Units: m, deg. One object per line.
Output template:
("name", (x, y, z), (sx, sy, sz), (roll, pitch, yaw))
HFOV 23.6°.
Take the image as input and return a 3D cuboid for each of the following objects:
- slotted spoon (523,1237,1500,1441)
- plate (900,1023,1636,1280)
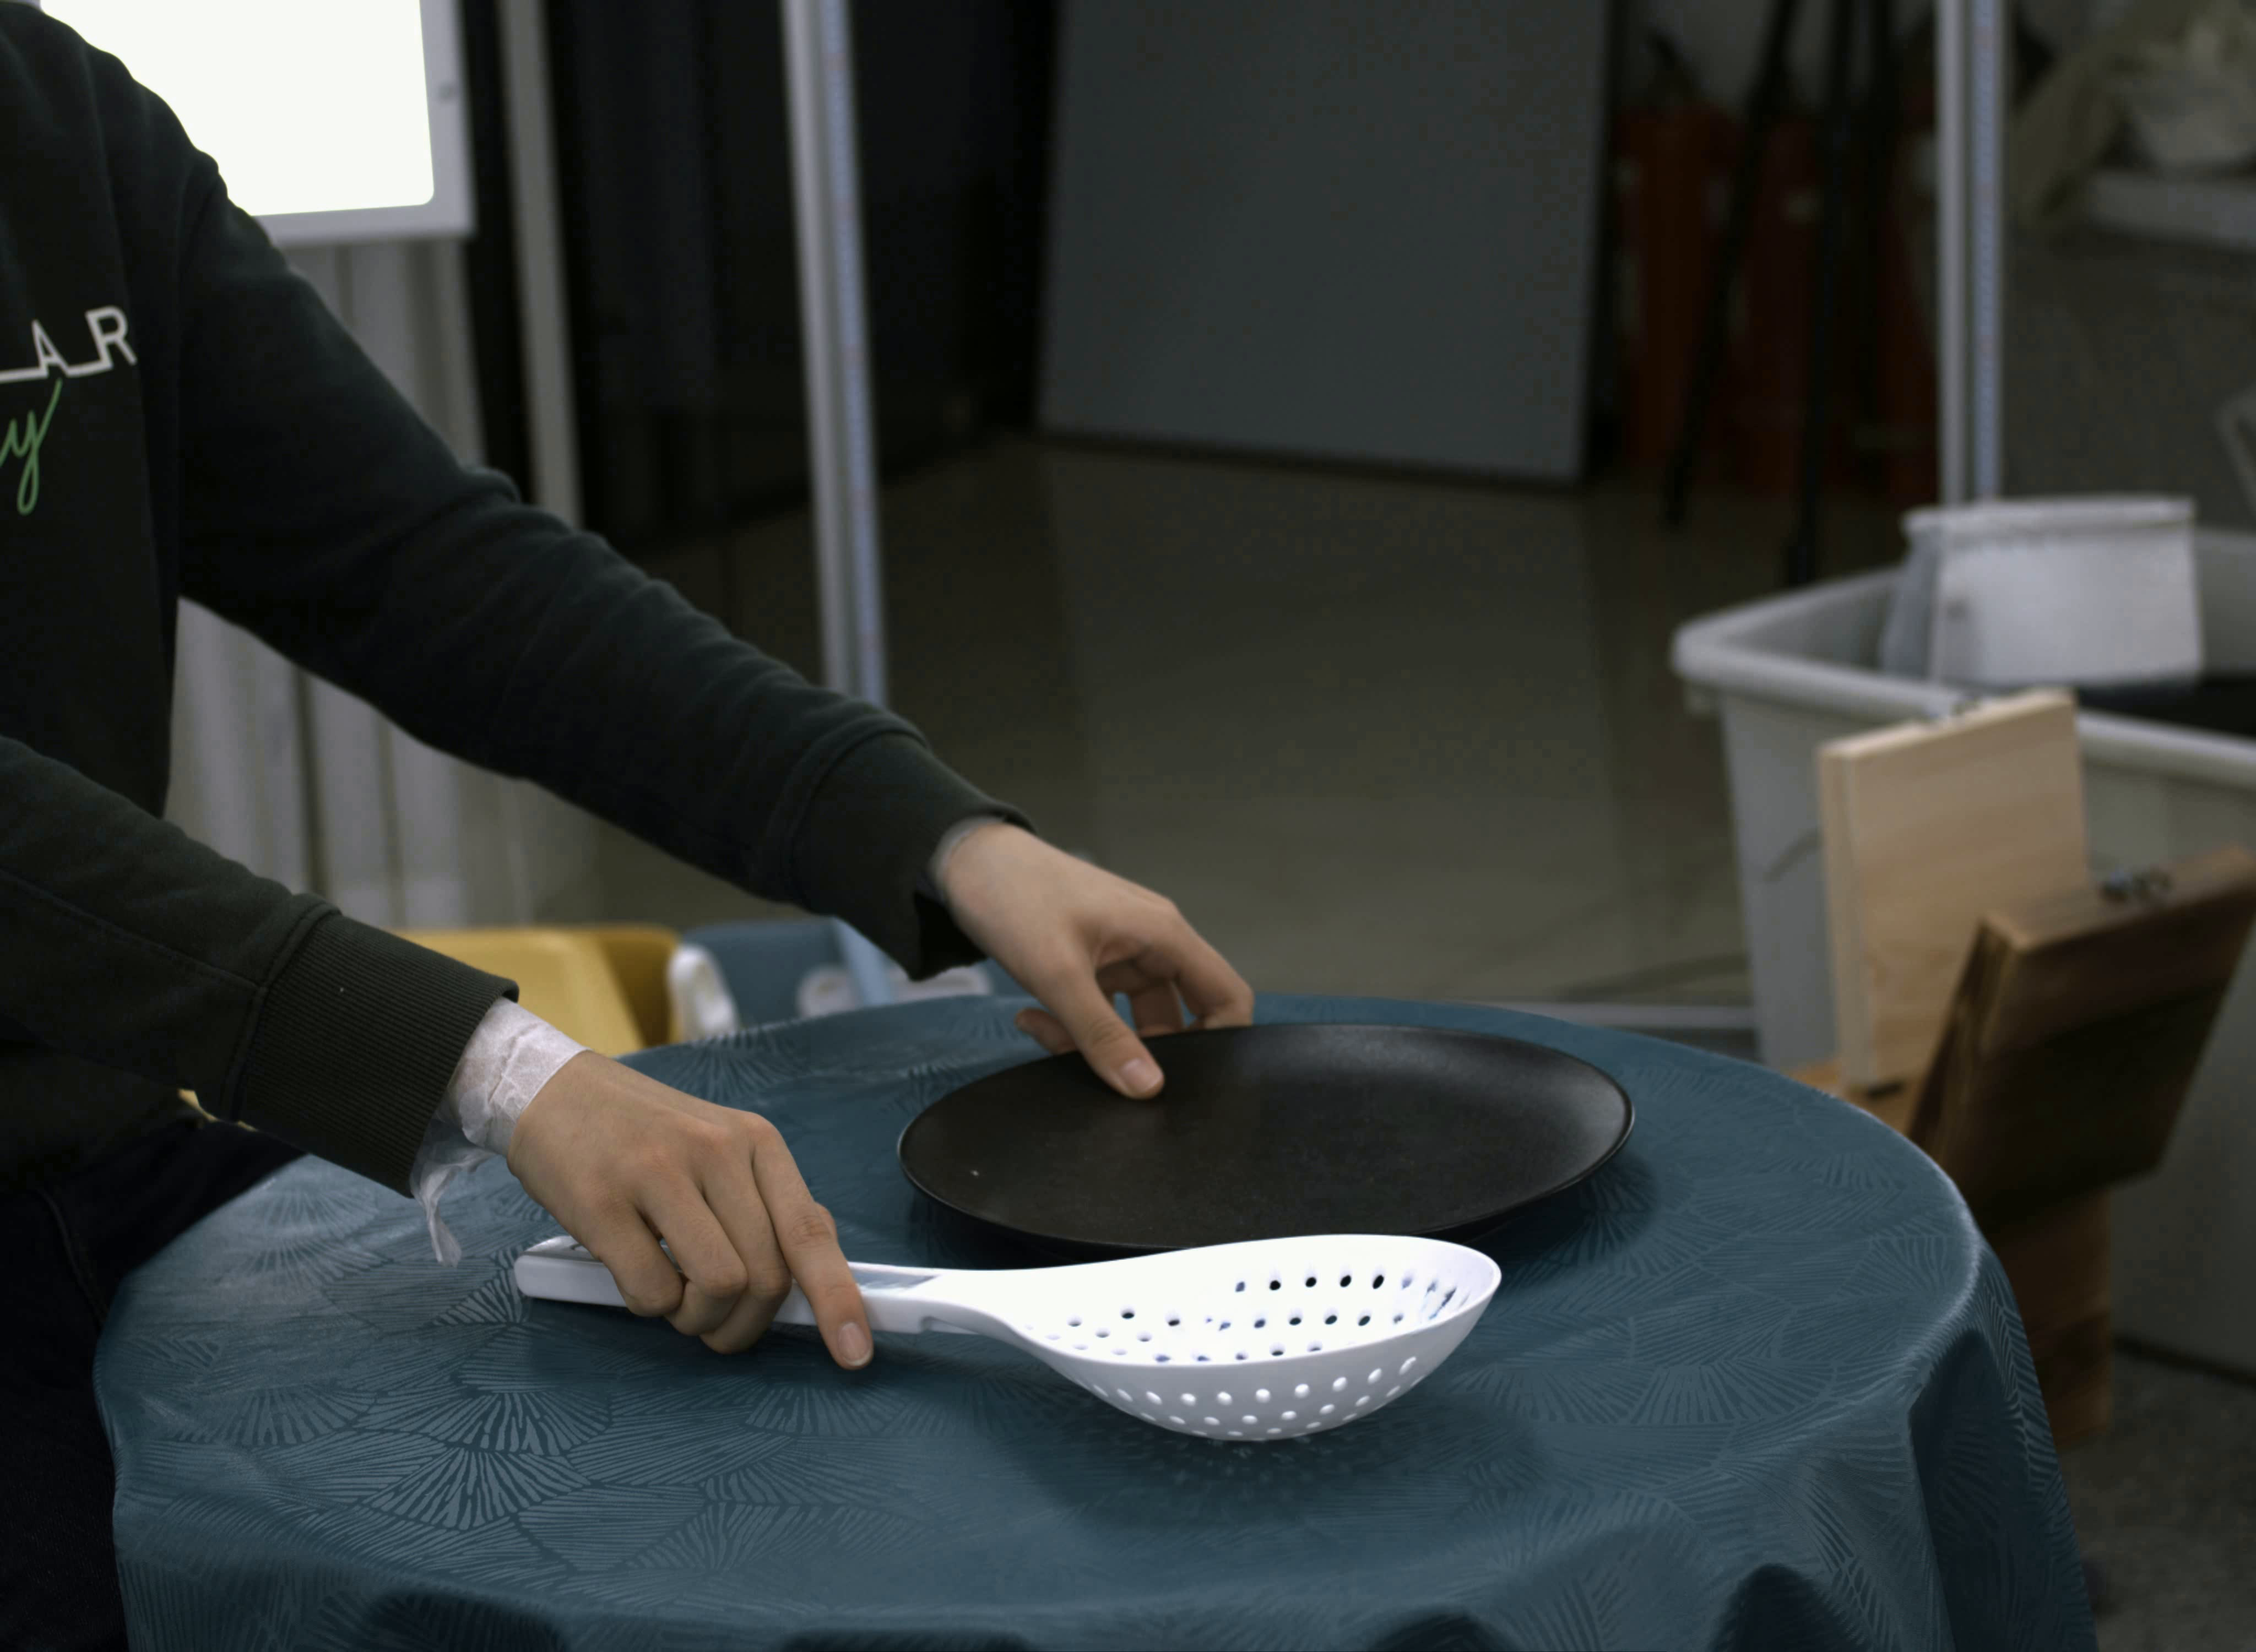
("slotted spoon", (-0.046, 0.142, 1.606), (0.352, 0.046, 0.133), (5, 14, 36))
("plate", (0.046, 0.109, 1.759), (0.241, 0.024, 0.245), (-4, 14, 0))
